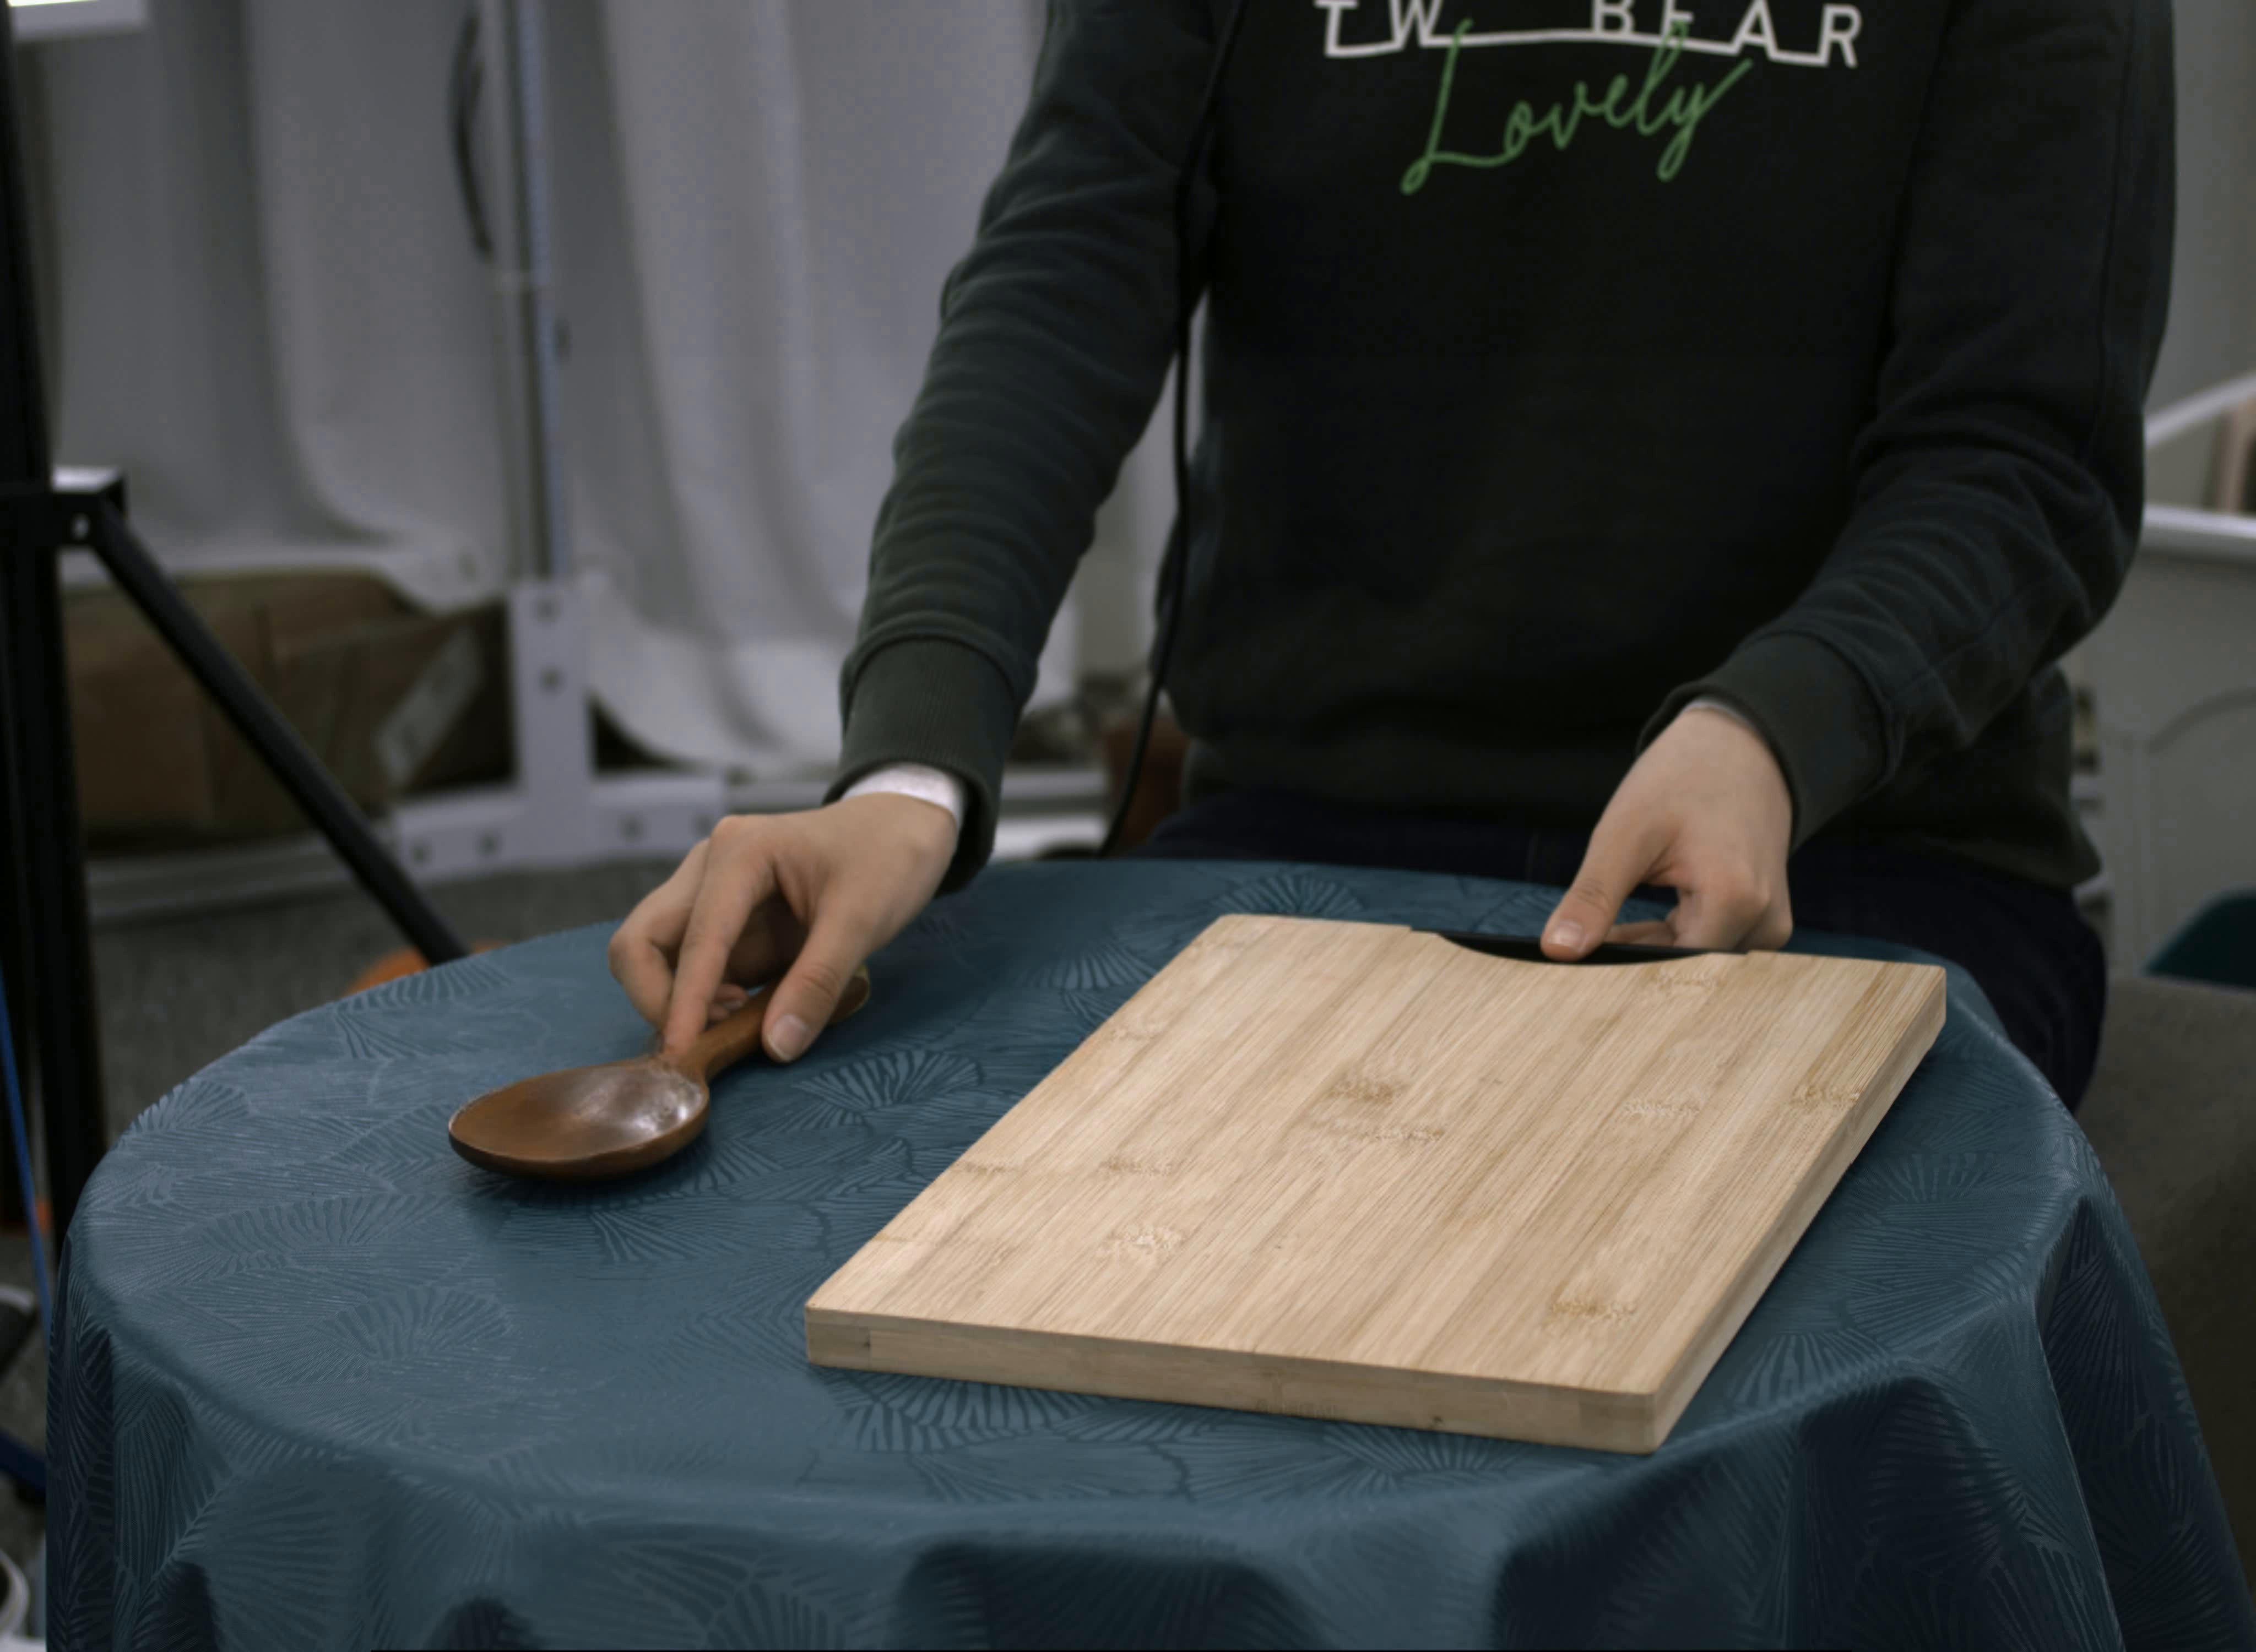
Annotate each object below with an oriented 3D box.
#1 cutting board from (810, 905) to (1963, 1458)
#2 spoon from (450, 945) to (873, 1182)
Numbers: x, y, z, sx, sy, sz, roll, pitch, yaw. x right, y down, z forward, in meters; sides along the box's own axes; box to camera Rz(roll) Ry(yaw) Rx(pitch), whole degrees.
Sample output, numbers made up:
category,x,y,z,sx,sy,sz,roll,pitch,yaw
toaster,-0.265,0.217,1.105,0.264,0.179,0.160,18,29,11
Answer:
category,x,y,z,sx,sy,sz,roll,pitch,yaw
cutting board,0.086,0.094,1.543,0.254,0.023,0.345,4,19,21
spoon,-0.136,0.075,1.663,0.076,0.017,0.212,4,18,26
